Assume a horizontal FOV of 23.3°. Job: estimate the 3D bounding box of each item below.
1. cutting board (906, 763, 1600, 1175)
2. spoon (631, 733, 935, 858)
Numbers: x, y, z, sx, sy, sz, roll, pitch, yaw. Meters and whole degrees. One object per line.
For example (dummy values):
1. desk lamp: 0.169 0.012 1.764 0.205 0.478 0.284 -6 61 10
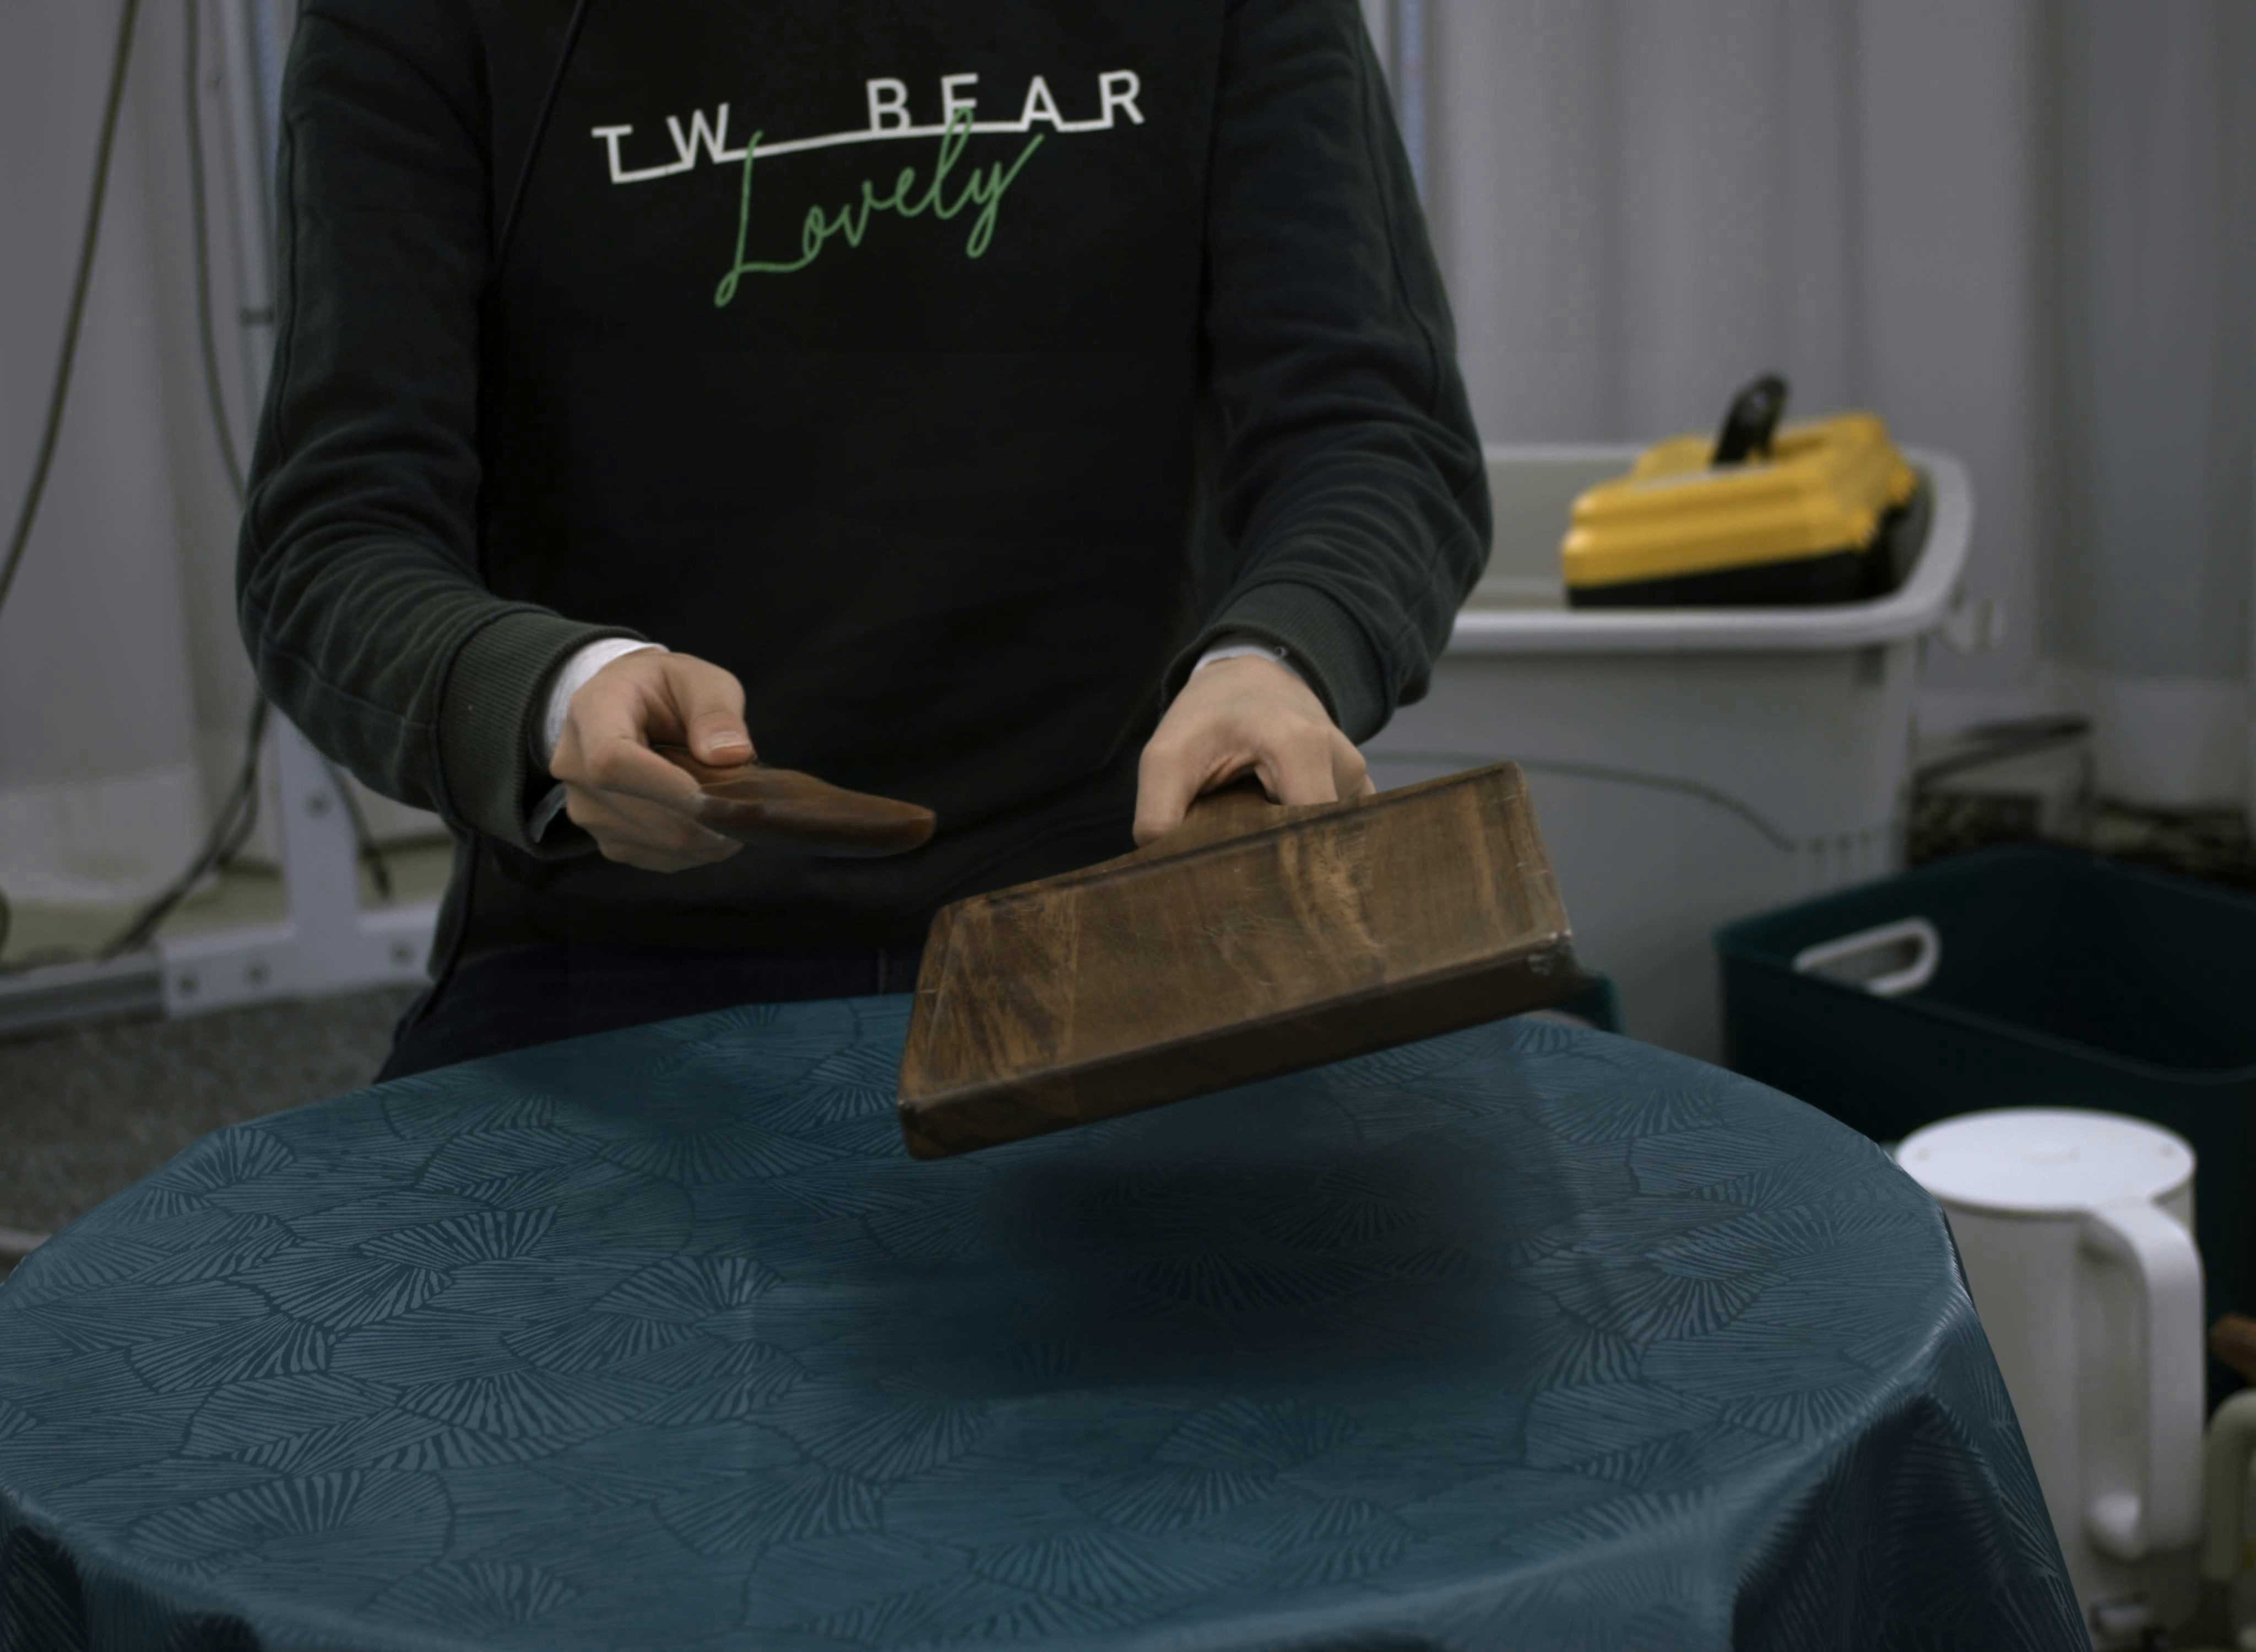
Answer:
1. cutting board: 0.034 0.028 1.677 0.200 0.023 0.354 -16 11 4
2. spoon: -0.117 -0.009 1.685 0.075 0.017 0.217 2 7 -19
